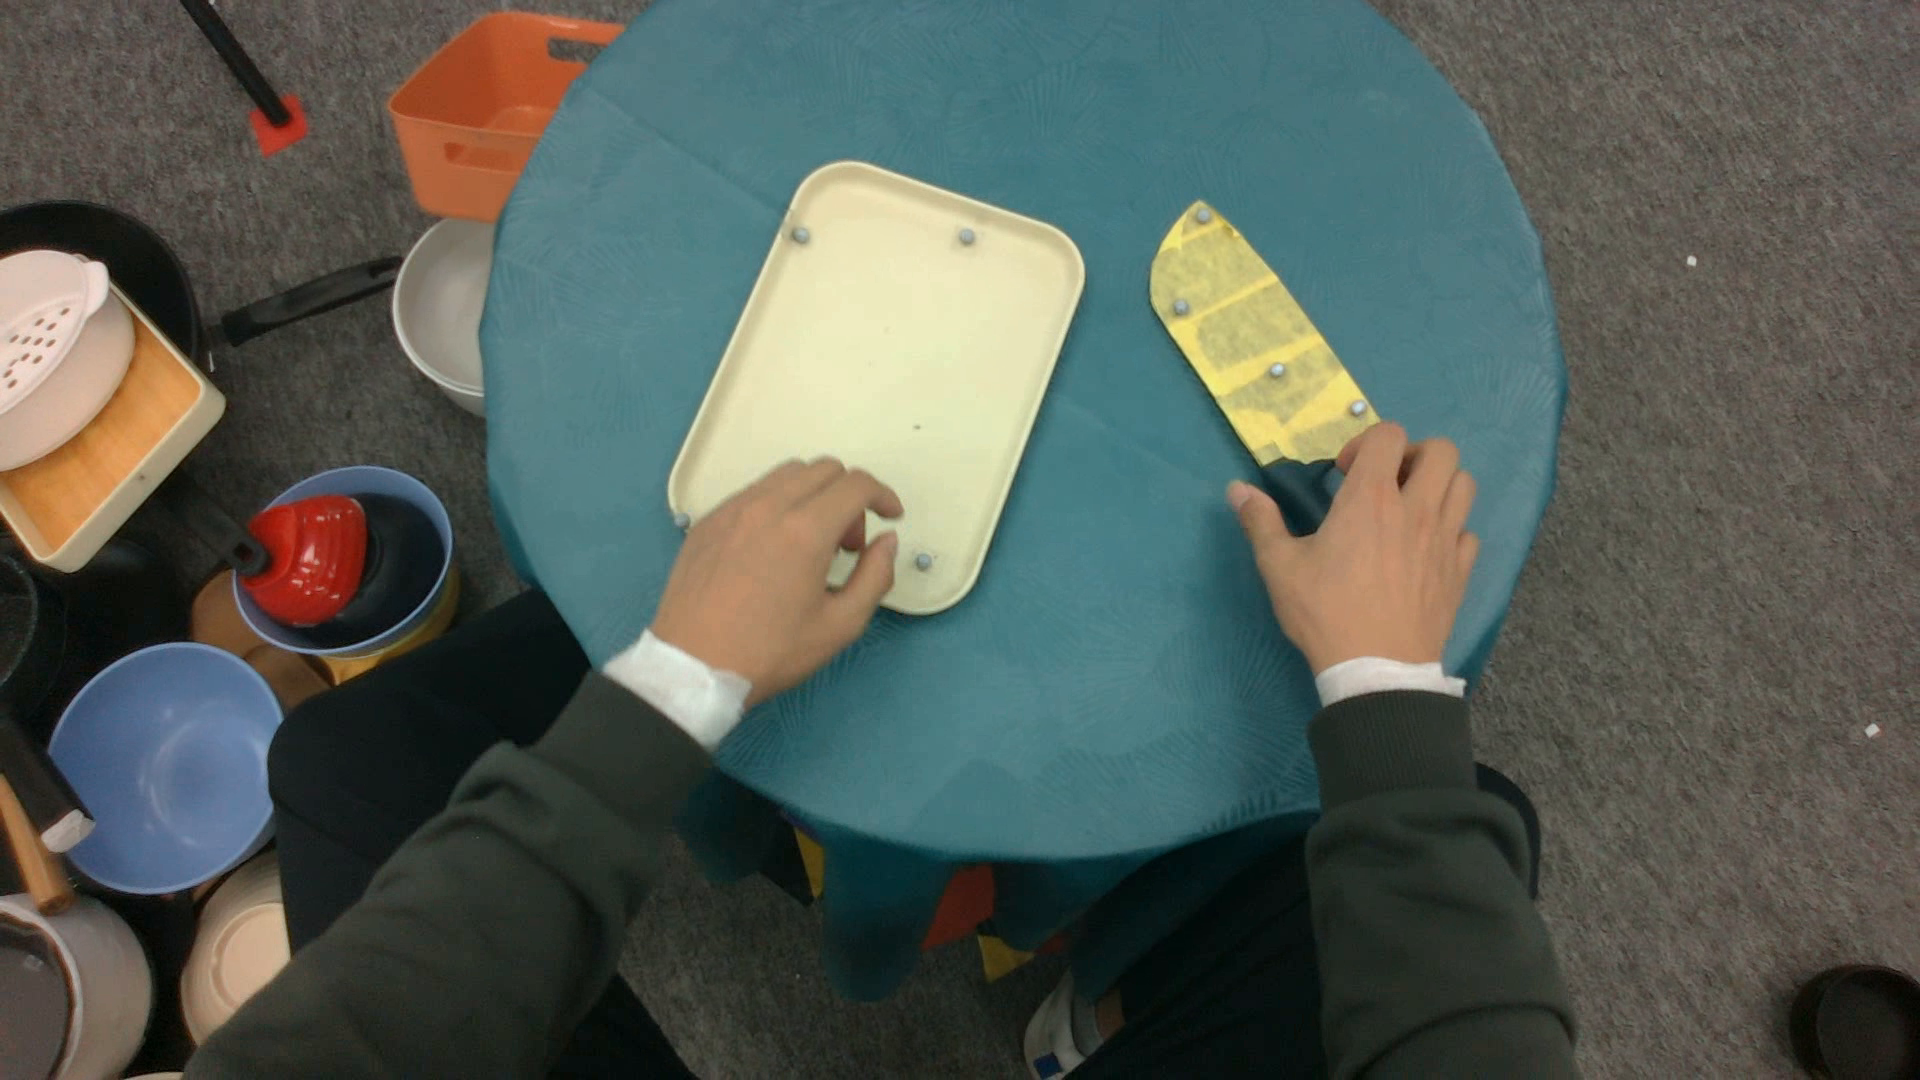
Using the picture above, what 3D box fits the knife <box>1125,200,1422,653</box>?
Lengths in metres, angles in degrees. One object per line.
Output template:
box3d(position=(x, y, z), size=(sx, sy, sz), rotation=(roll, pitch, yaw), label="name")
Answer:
box3d(position=(0.176, -0.071, 0.752), size=(0.081, 0.027, 0.290), rotation=(-25, 74, -9), label="knife")

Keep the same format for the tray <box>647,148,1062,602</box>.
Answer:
box3d(position=(-0.053, -0.093, 0.744), size=(0.171, 0.017, 0.240), rotation=(19, 72, 3), label="tray")
